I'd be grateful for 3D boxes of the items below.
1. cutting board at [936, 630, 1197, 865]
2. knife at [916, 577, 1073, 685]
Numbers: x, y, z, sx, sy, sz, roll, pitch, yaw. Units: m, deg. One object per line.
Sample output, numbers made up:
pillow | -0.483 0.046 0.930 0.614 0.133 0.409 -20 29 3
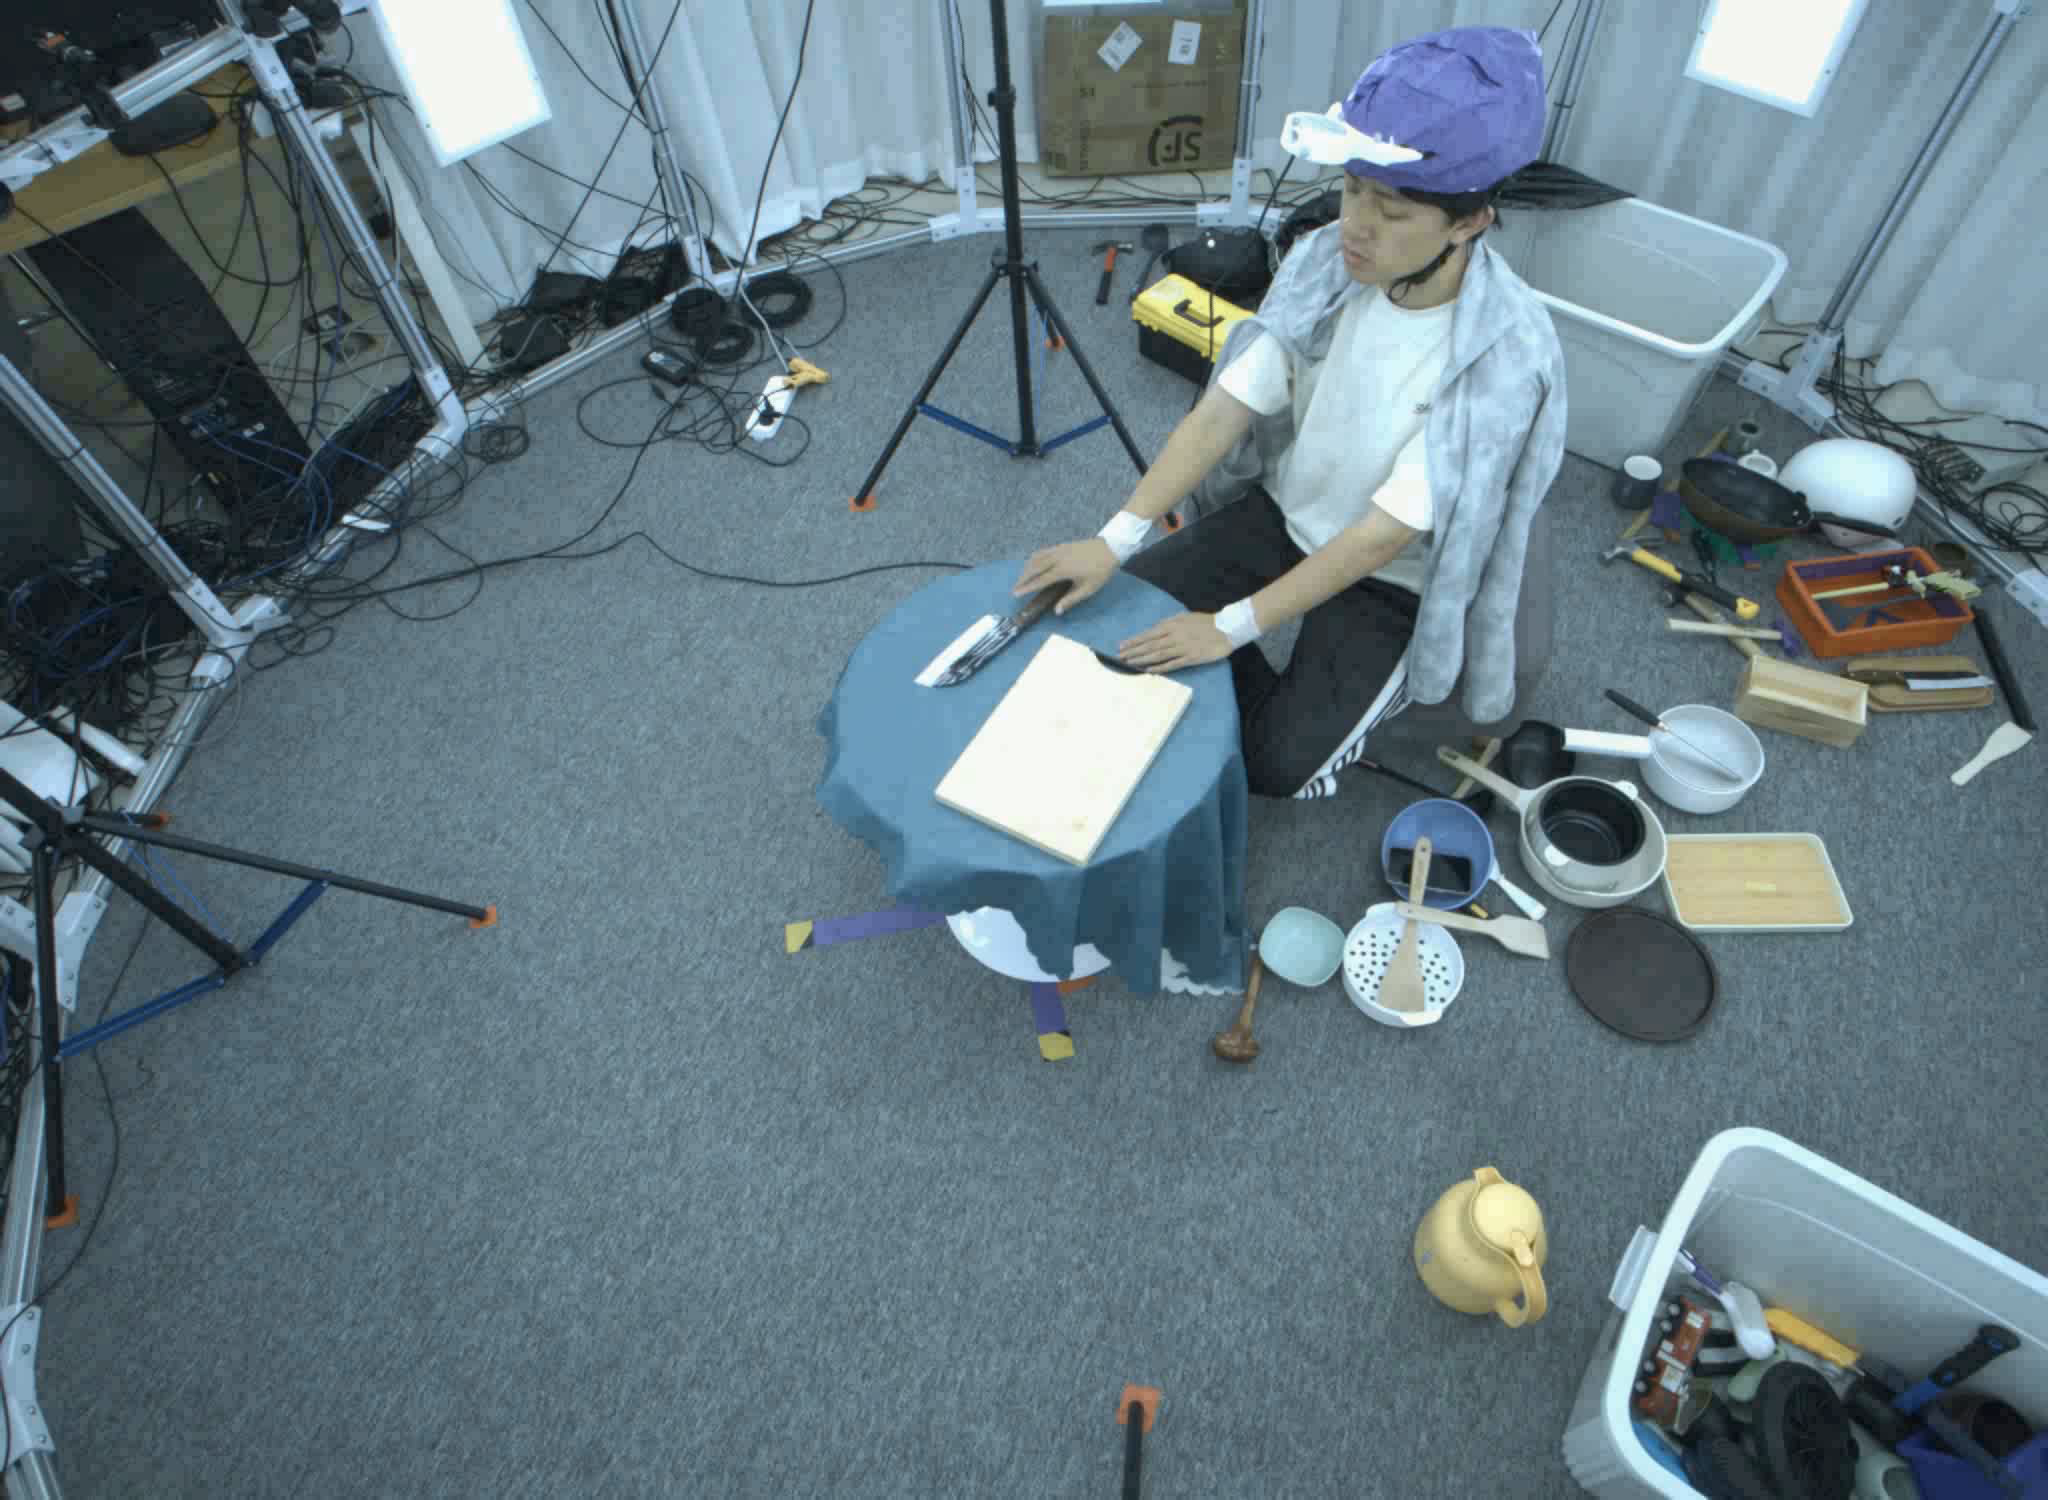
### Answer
cutting board | 0.065 -0.014 1.788 0.247 0.024 0.349 24 59 17
knife | -0.045 -0.188 1.912 0.067 0.024 0.301 37 66 27
